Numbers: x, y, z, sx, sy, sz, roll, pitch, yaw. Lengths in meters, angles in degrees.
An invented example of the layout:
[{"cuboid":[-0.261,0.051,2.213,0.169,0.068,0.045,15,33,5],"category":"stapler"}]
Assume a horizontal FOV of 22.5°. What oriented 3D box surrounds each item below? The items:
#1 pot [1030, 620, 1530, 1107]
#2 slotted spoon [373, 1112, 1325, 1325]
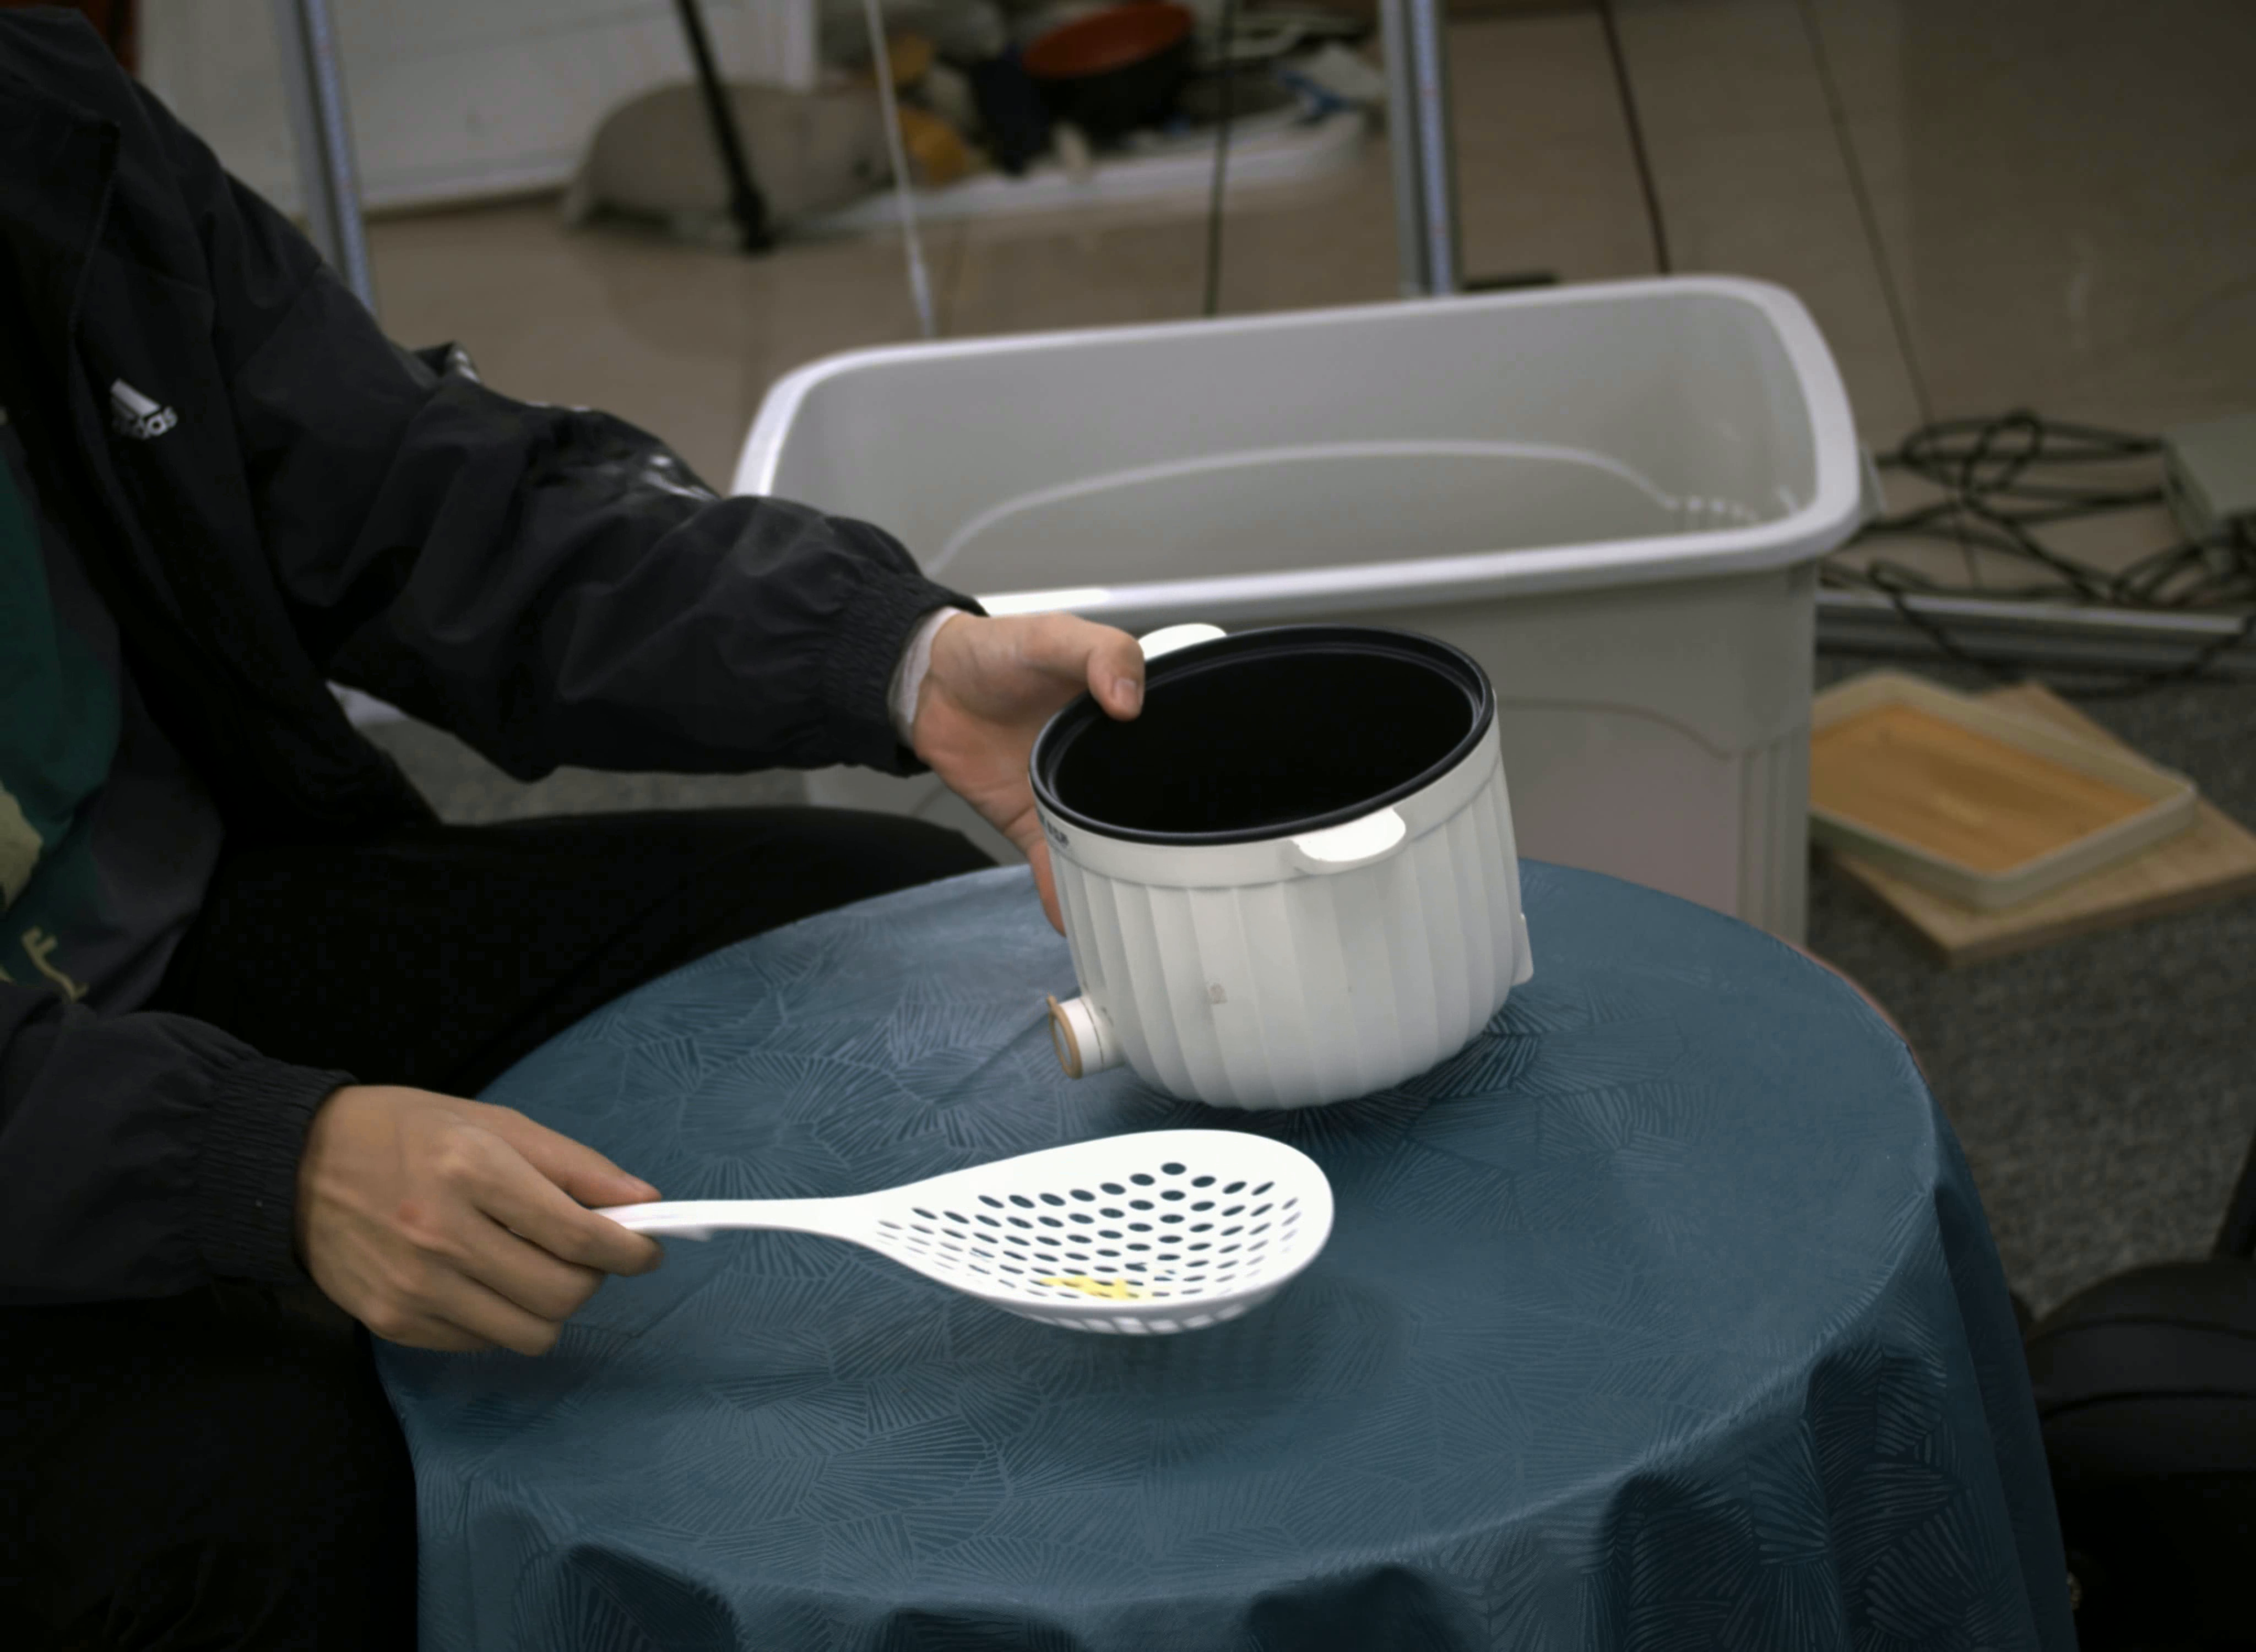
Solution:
[{"cuboid":[0.057,0.021,2.188,0.190,0.145,0.237,-14,25,-14],"category":"pot"},{"cuboid":[-0.102,0.149,2.042,0.347,0.051,0.135,2,24,7],"category":"slotted spoon"}]
